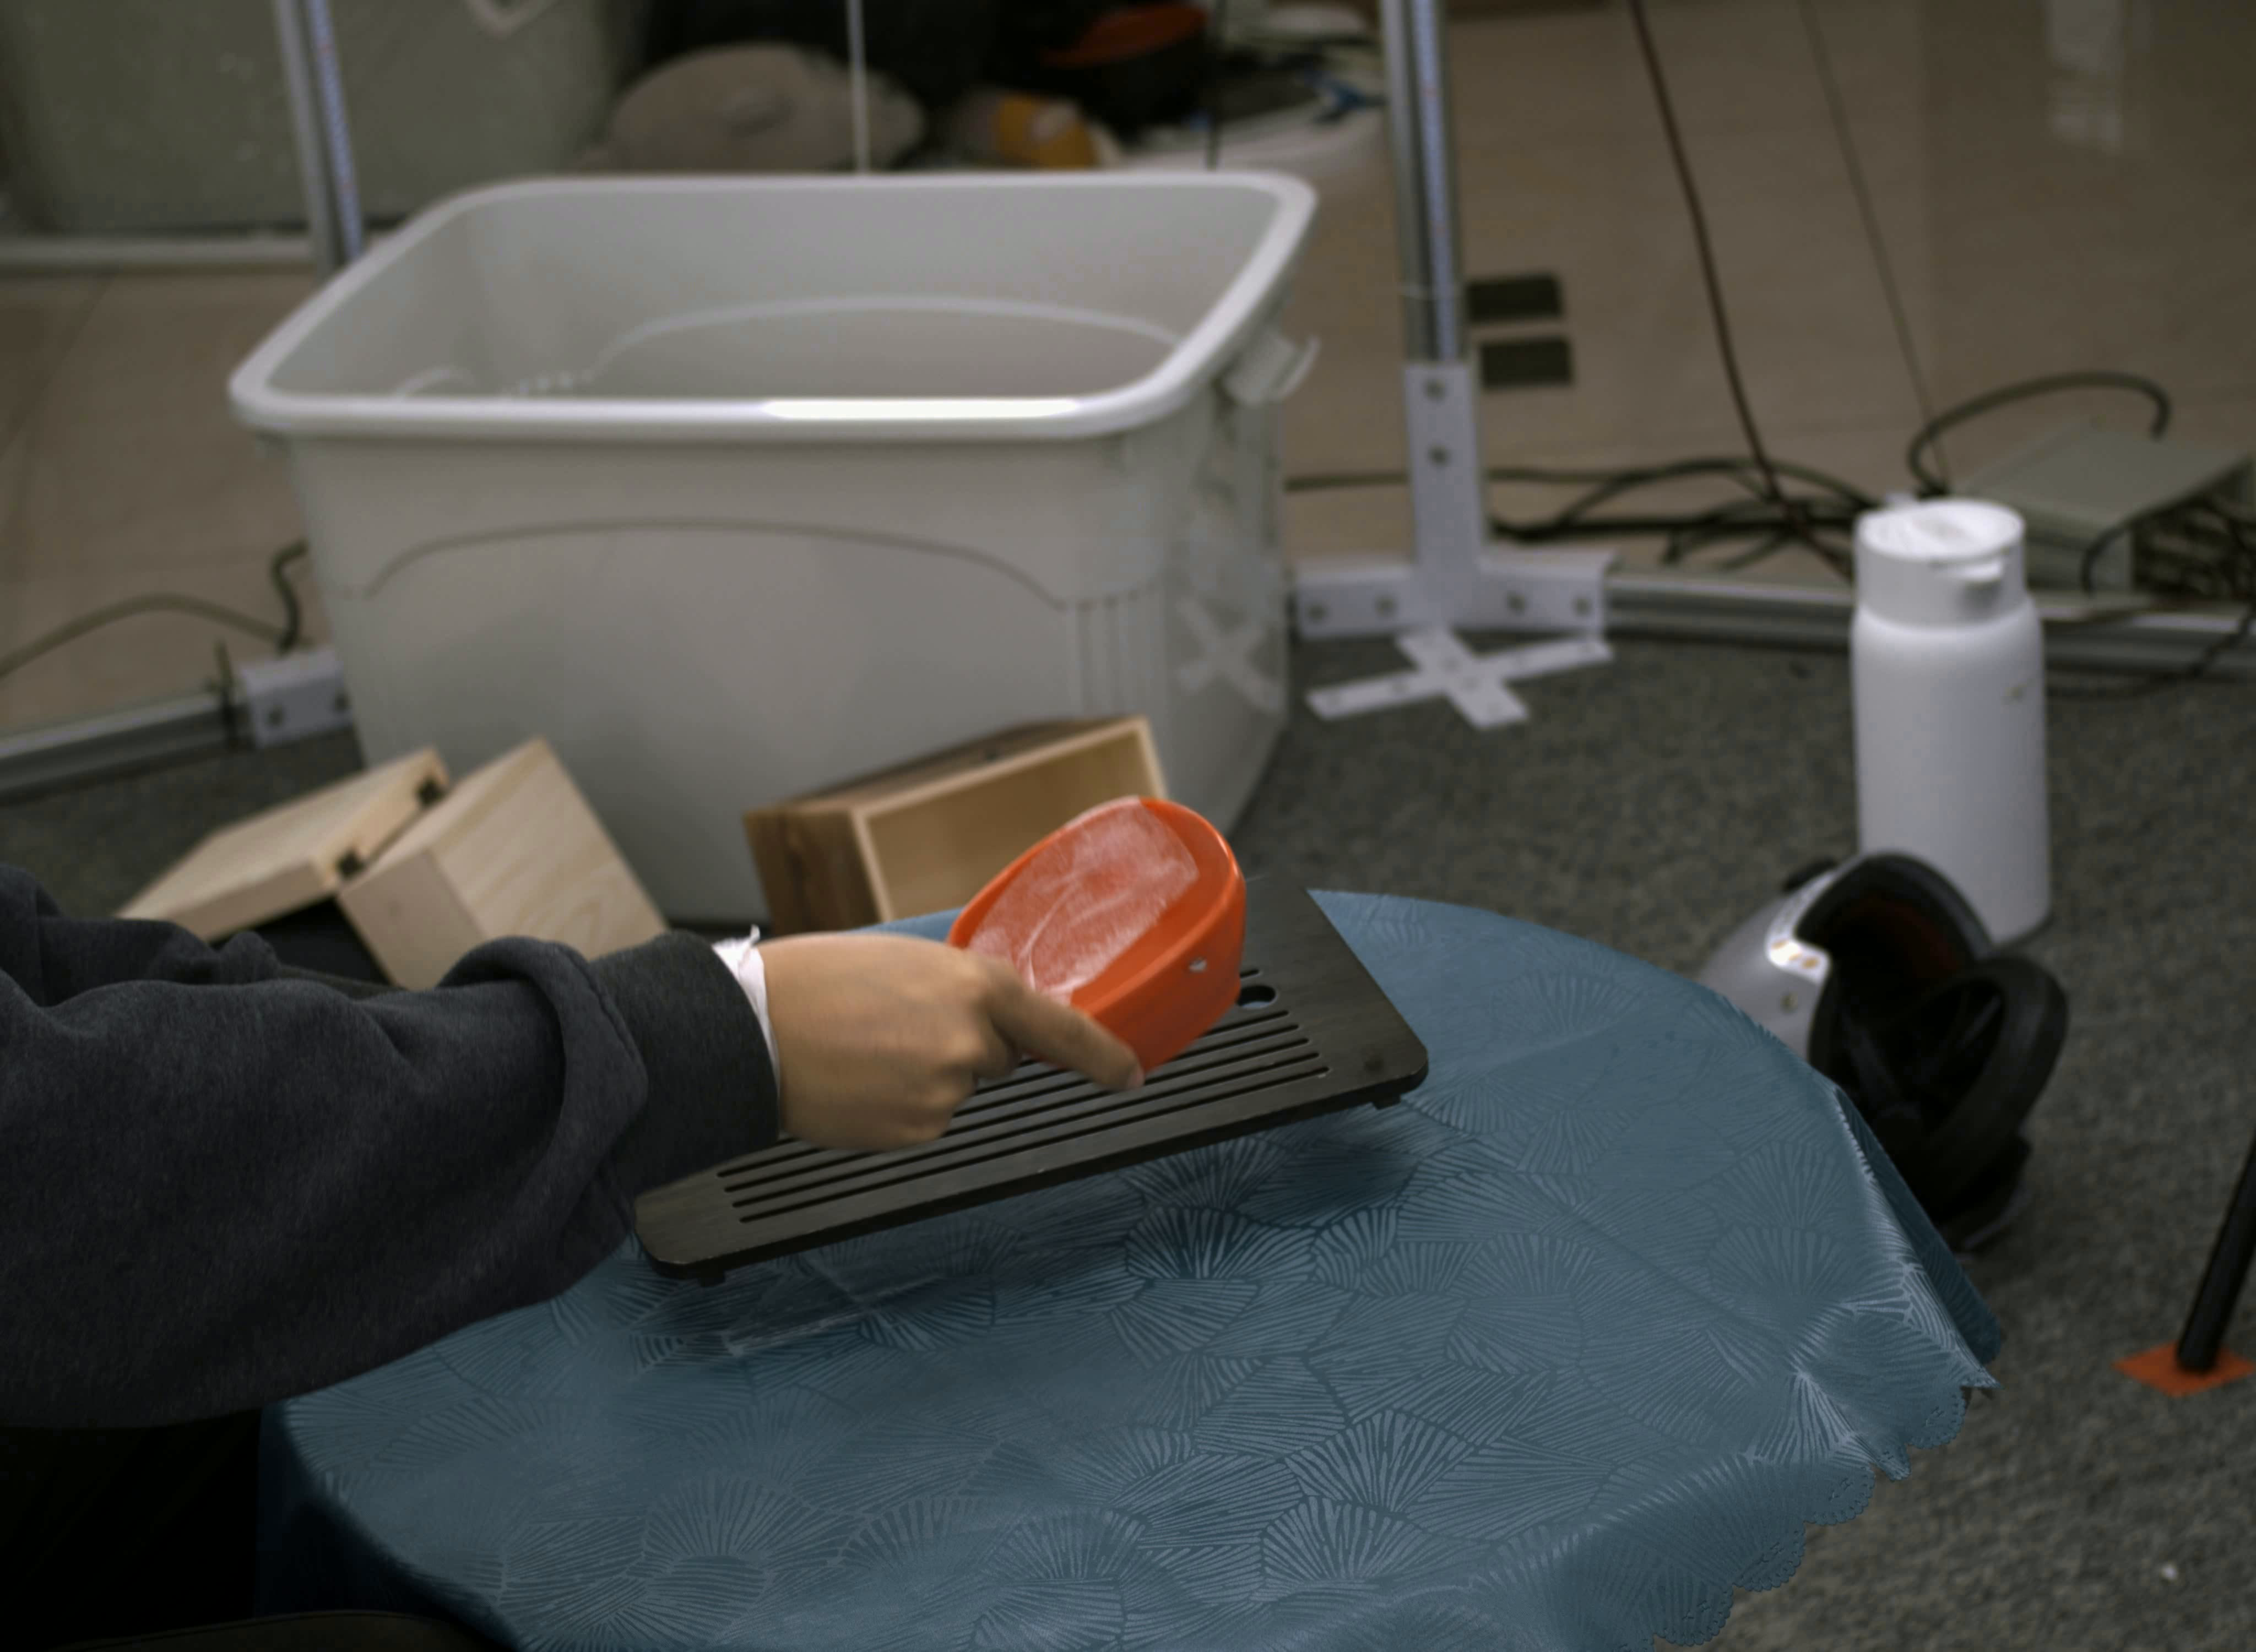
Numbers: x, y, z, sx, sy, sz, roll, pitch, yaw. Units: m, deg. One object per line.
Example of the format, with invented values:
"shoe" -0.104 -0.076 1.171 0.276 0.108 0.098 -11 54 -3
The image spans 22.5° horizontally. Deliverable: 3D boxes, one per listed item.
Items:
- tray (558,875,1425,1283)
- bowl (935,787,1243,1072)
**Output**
"tray" -0.054 0.095 2.158 0.305 0.019 0.167 -14 30 -13
"bowl" -0.006 0.044 2.008 0.119 0.052 0.117 -23 34 16
